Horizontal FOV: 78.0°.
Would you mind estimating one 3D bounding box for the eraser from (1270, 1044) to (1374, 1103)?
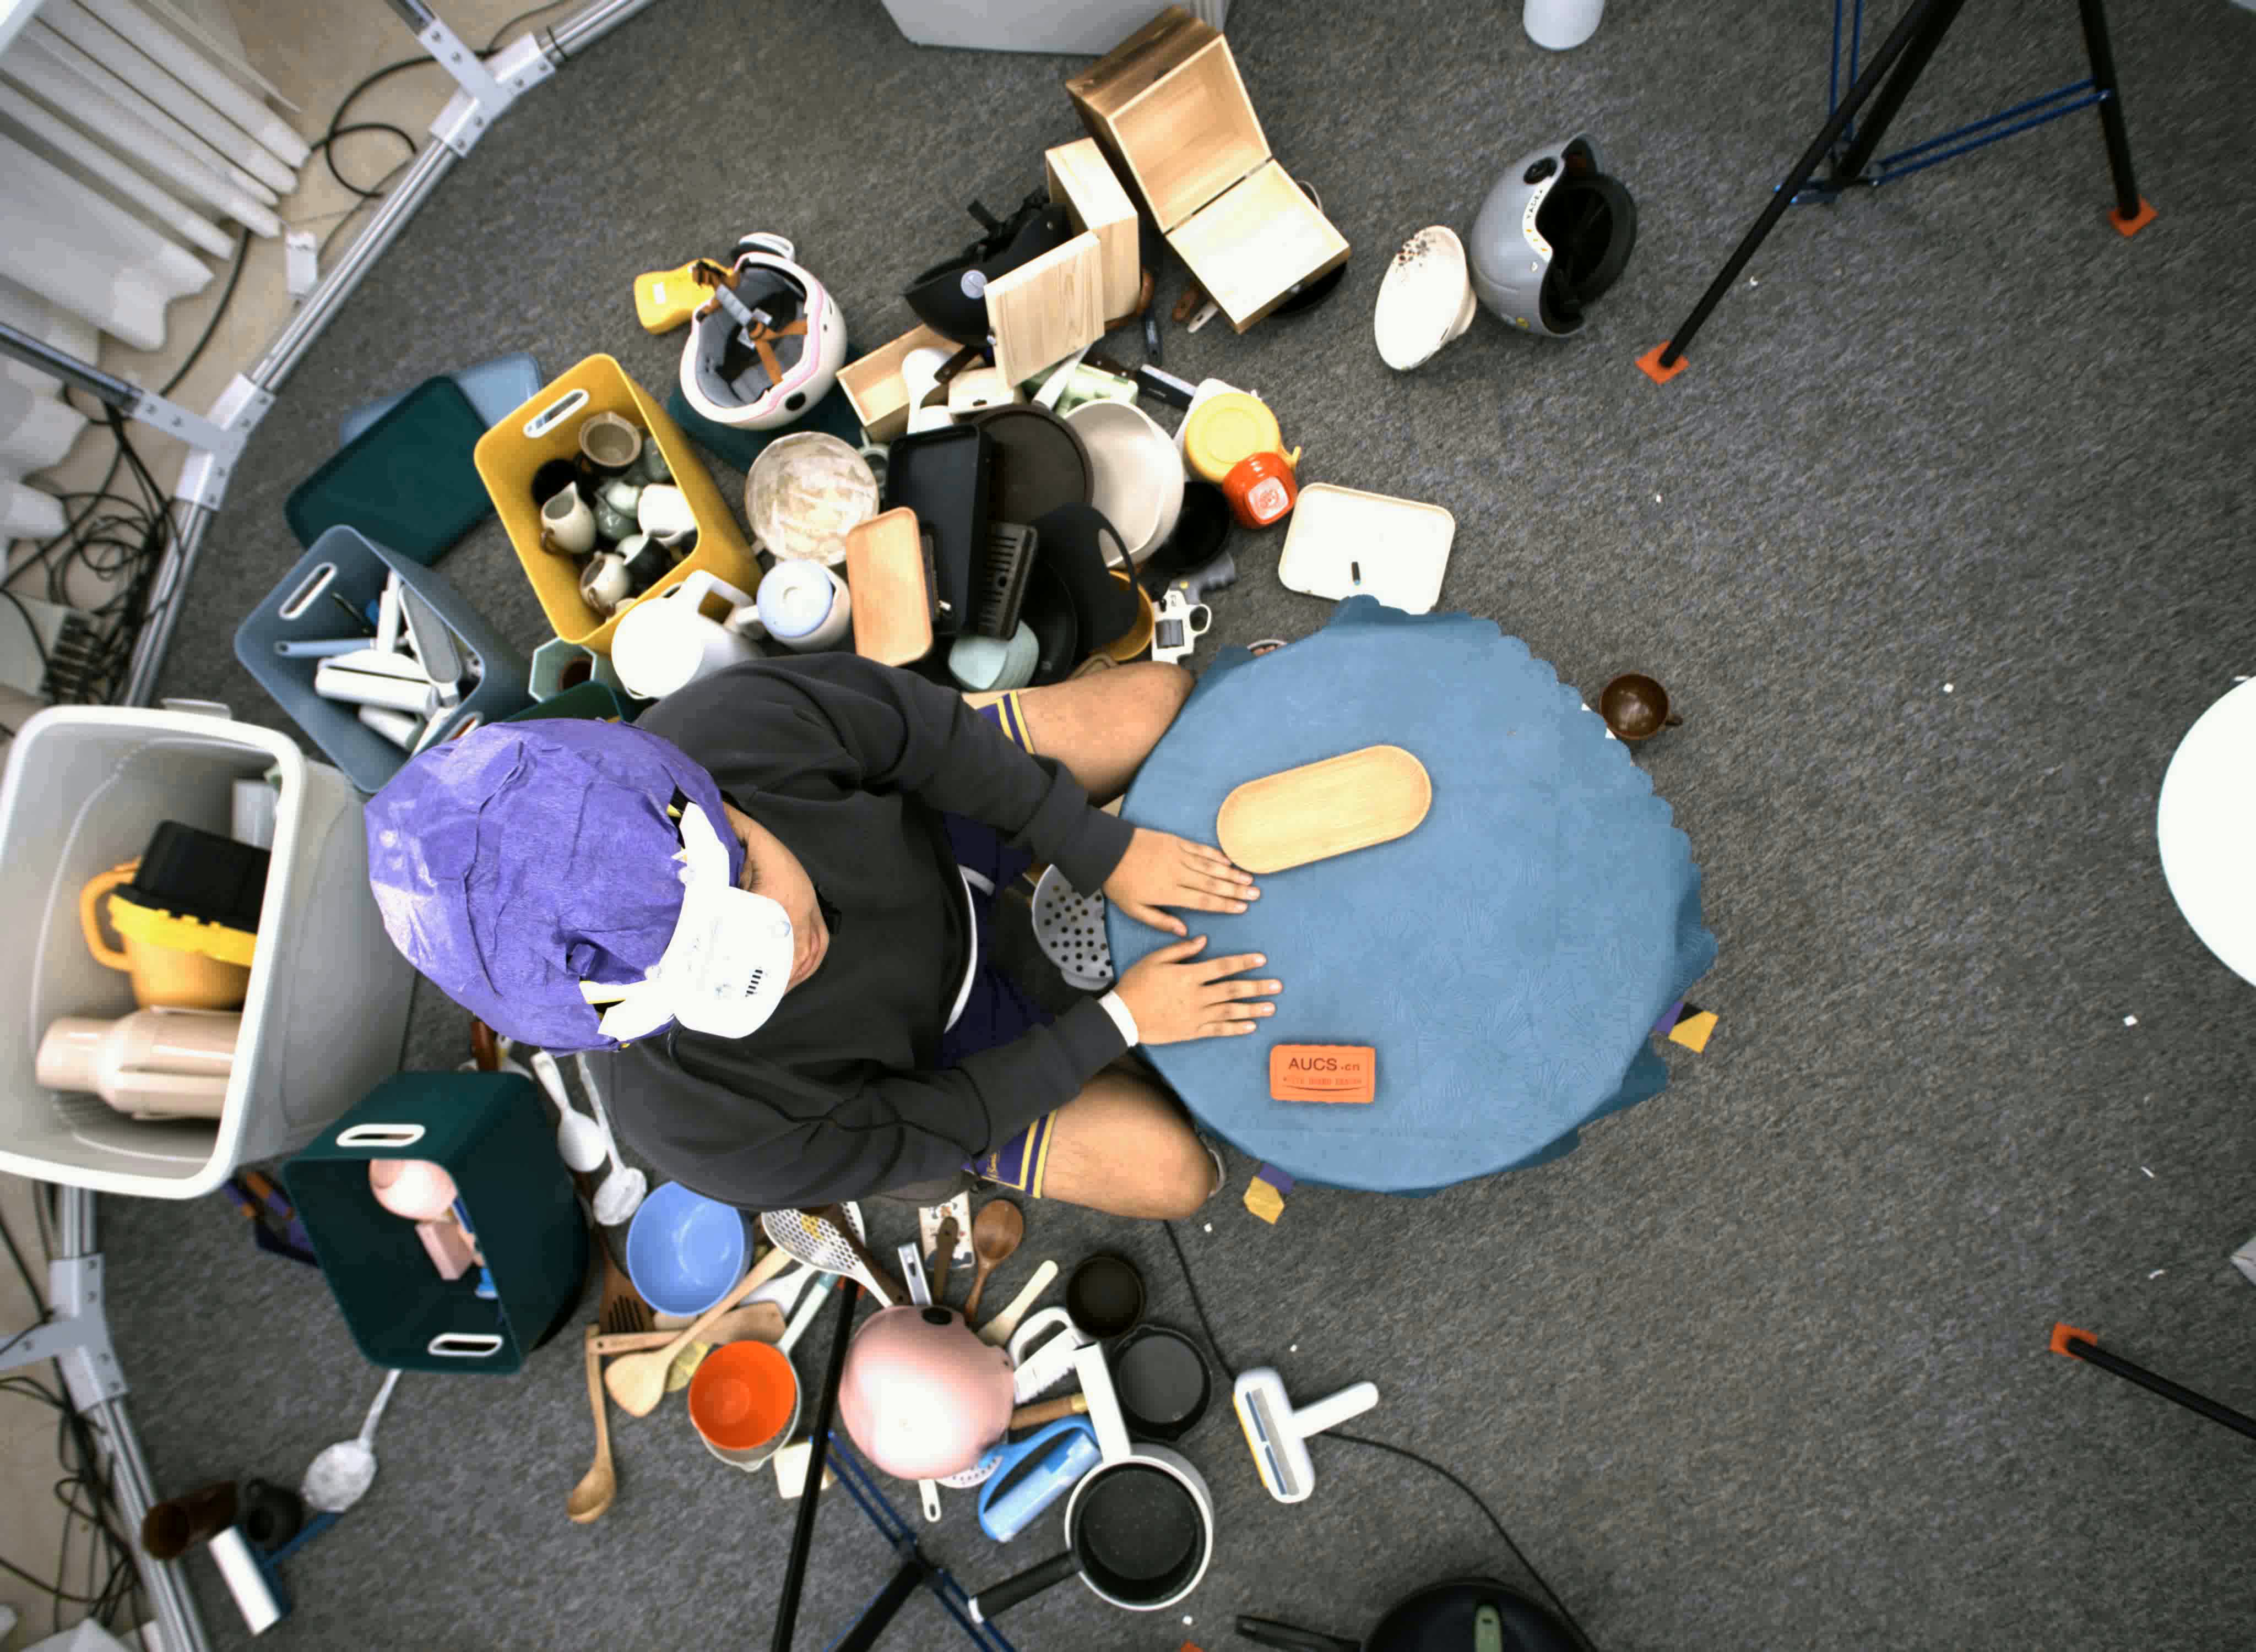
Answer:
[{"bbox_3d":[0.203,0.257,1.449,0.108,0.023,0.059,1,88,11],"label":"eraser"}]

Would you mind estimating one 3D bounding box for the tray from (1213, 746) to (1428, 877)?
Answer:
[{"bbox_3d":[0.204,-0.016,1.468,0.232,0.020,0.101,-17,83,10],"label":"tray"}]
